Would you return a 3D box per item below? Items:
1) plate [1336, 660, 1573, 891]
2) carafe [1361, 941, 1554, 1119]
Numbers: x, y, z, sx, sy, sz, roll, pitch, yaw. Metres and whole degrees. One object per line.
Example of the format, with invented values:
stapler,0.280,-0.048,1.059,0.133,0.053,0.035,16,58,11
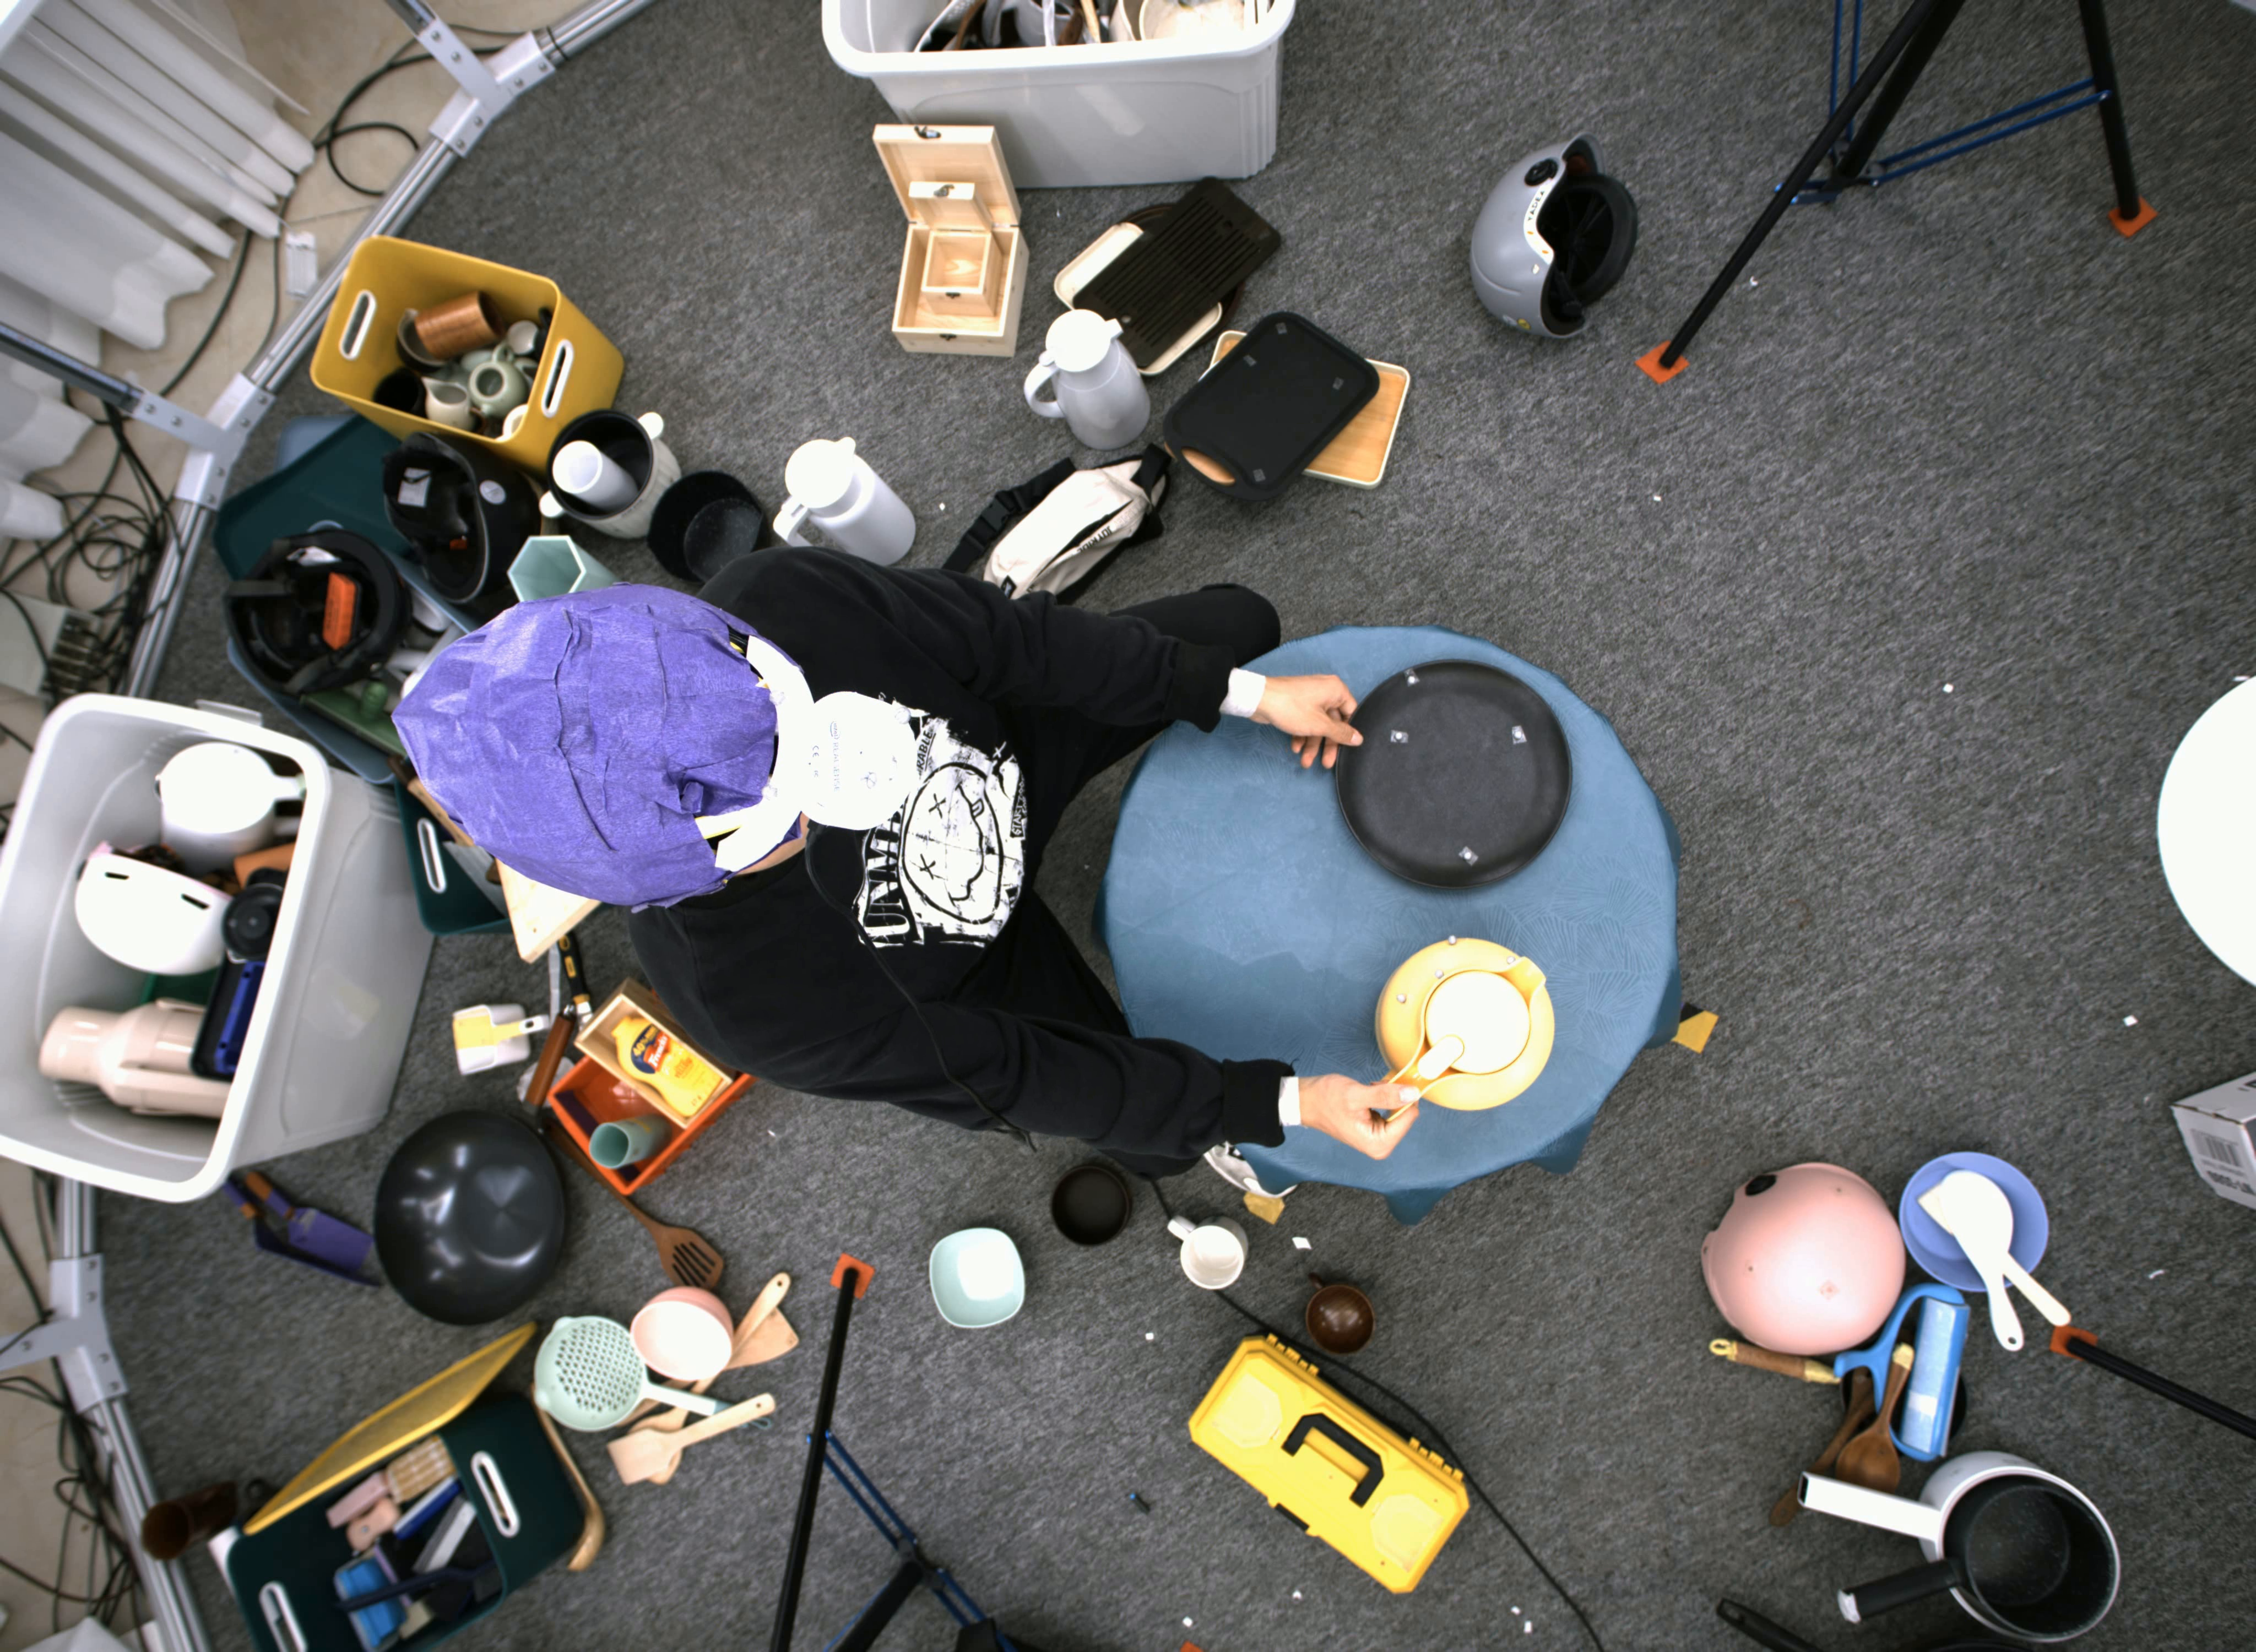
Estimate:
plate,0.341,-0.055,1.441,0.245,0.023,0.243,-1,87,10
carafe,0.304,0.200,1.312,0.203,0.262,0.162,-39,76,1
